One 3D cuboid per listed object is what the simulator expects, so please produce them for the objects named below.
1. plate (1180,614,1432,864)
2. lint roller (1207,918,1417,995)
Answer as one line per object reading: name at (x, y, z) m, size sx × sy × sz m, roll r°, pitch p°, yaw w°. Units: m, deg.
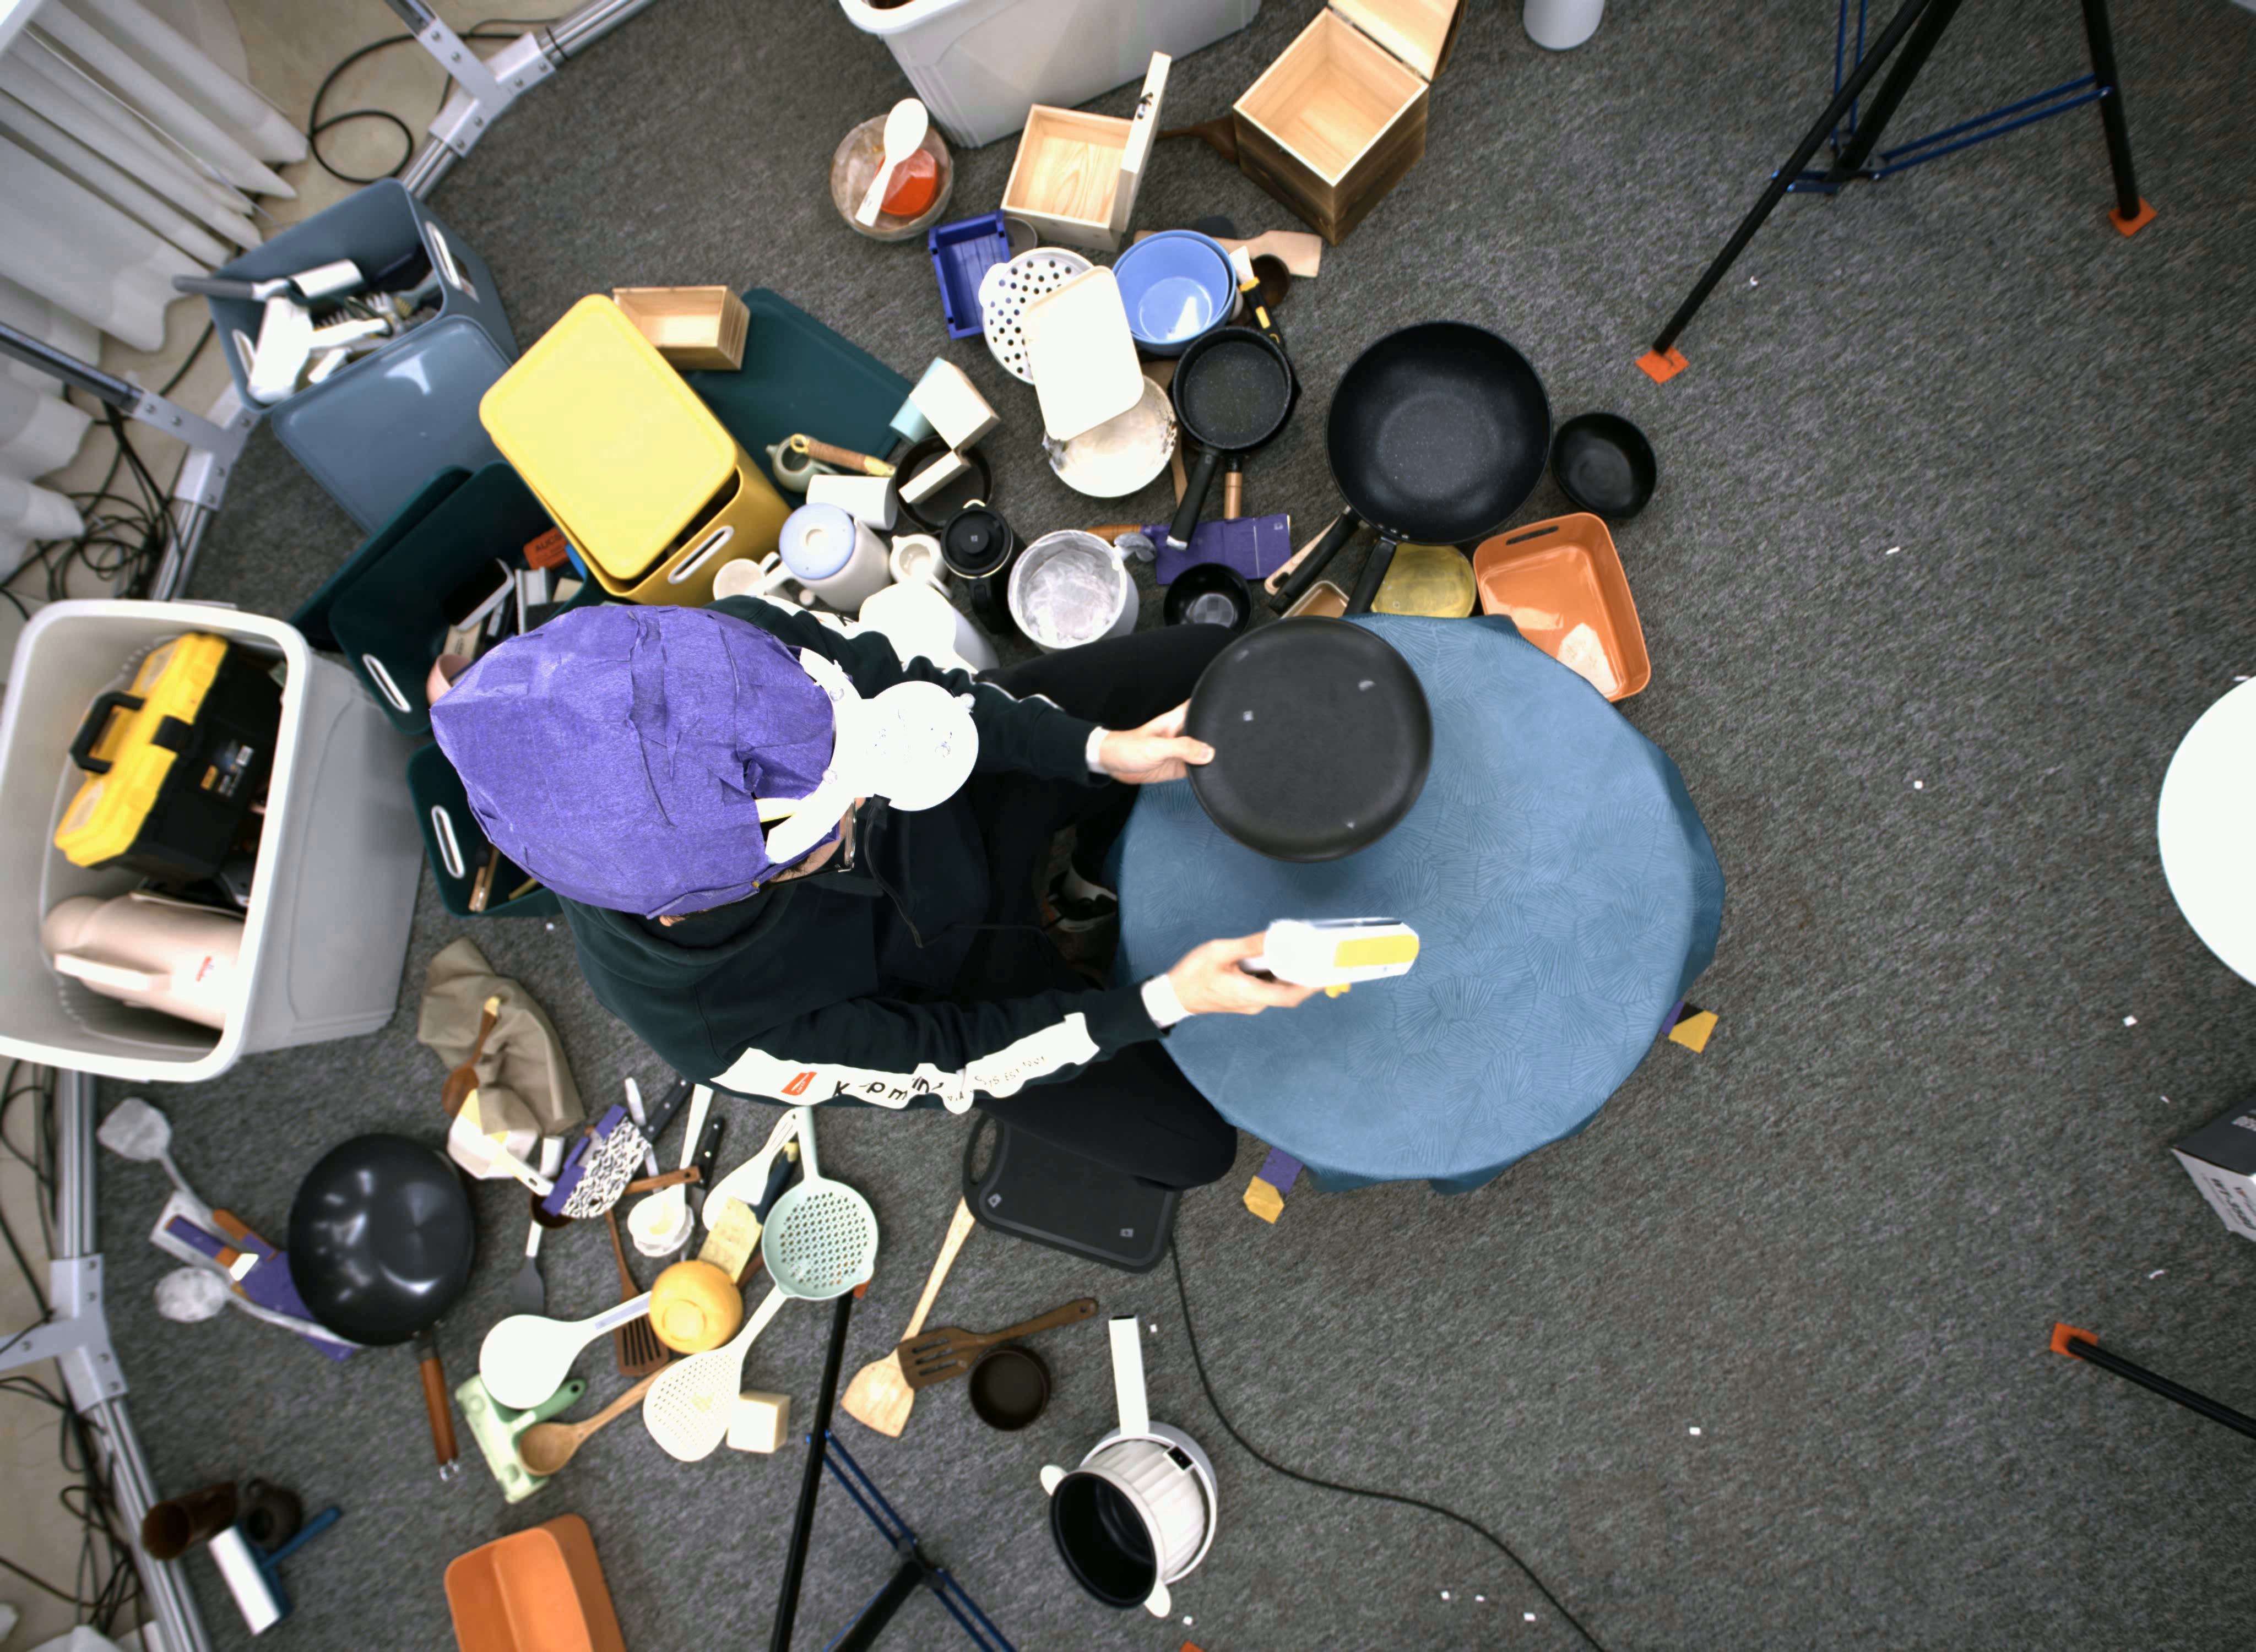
plate at (0.172, -0.086, 1.340) m, size 0.245 × 0.023 × 0.243 m, roll -1°, pitch 88°, yaw 12°
lint roller at (0.150, 0.115, 1.302) m, size 0.193 × 0.191 × 0.074 m, roll 2°, pitch 93°, yaw 47°
